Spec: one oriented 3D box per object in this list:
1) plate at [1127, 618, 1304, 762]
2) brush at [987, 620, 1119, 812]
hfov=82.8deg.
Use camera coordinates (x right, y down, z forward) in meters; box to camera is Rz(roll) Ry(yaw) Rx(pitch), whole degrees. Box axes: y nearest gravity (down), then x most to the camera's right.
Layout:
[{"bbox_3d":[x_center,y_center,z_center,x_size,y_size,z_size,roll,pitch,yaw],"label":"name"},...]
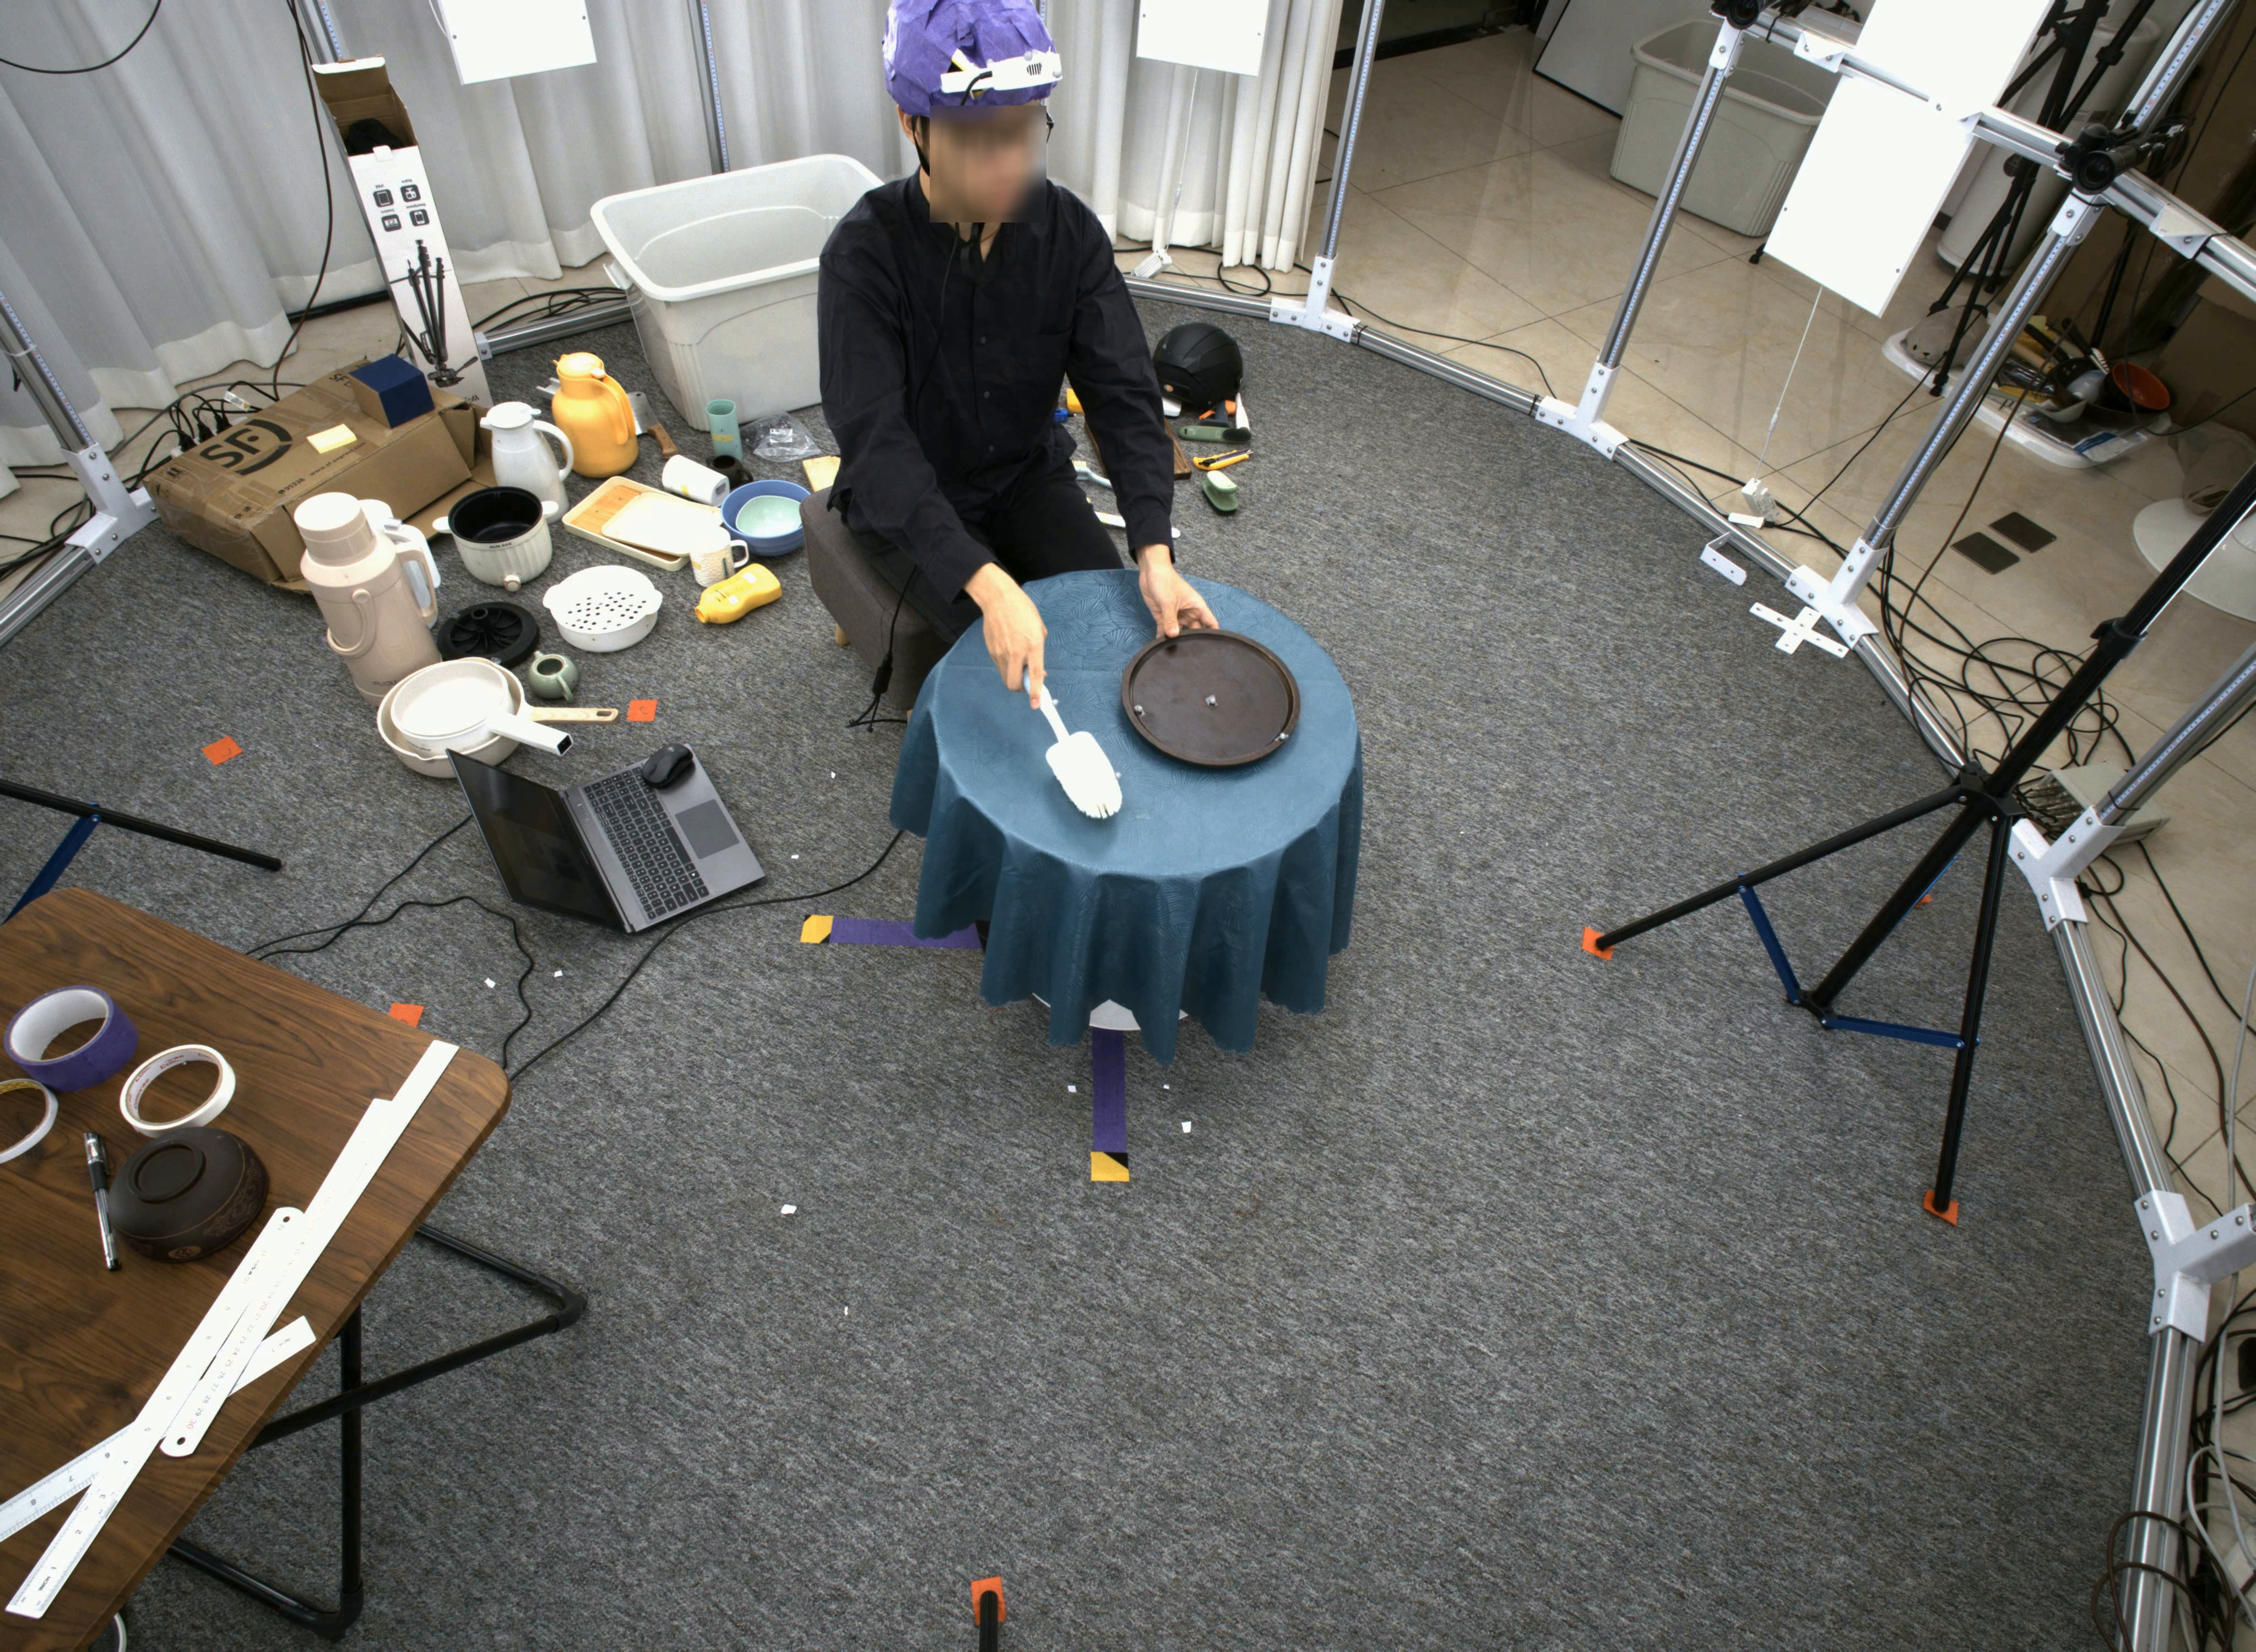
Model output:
[{"bbox_3d":[0.124,-0.193,1.818,0.254,0.028,0.261,1,55,-2],"label":"plate"},{"bbox_3d":[-0.100,-0.147,1.723,0.083,0.083,0.332,-9,54,-39],"label":"brush"}]
